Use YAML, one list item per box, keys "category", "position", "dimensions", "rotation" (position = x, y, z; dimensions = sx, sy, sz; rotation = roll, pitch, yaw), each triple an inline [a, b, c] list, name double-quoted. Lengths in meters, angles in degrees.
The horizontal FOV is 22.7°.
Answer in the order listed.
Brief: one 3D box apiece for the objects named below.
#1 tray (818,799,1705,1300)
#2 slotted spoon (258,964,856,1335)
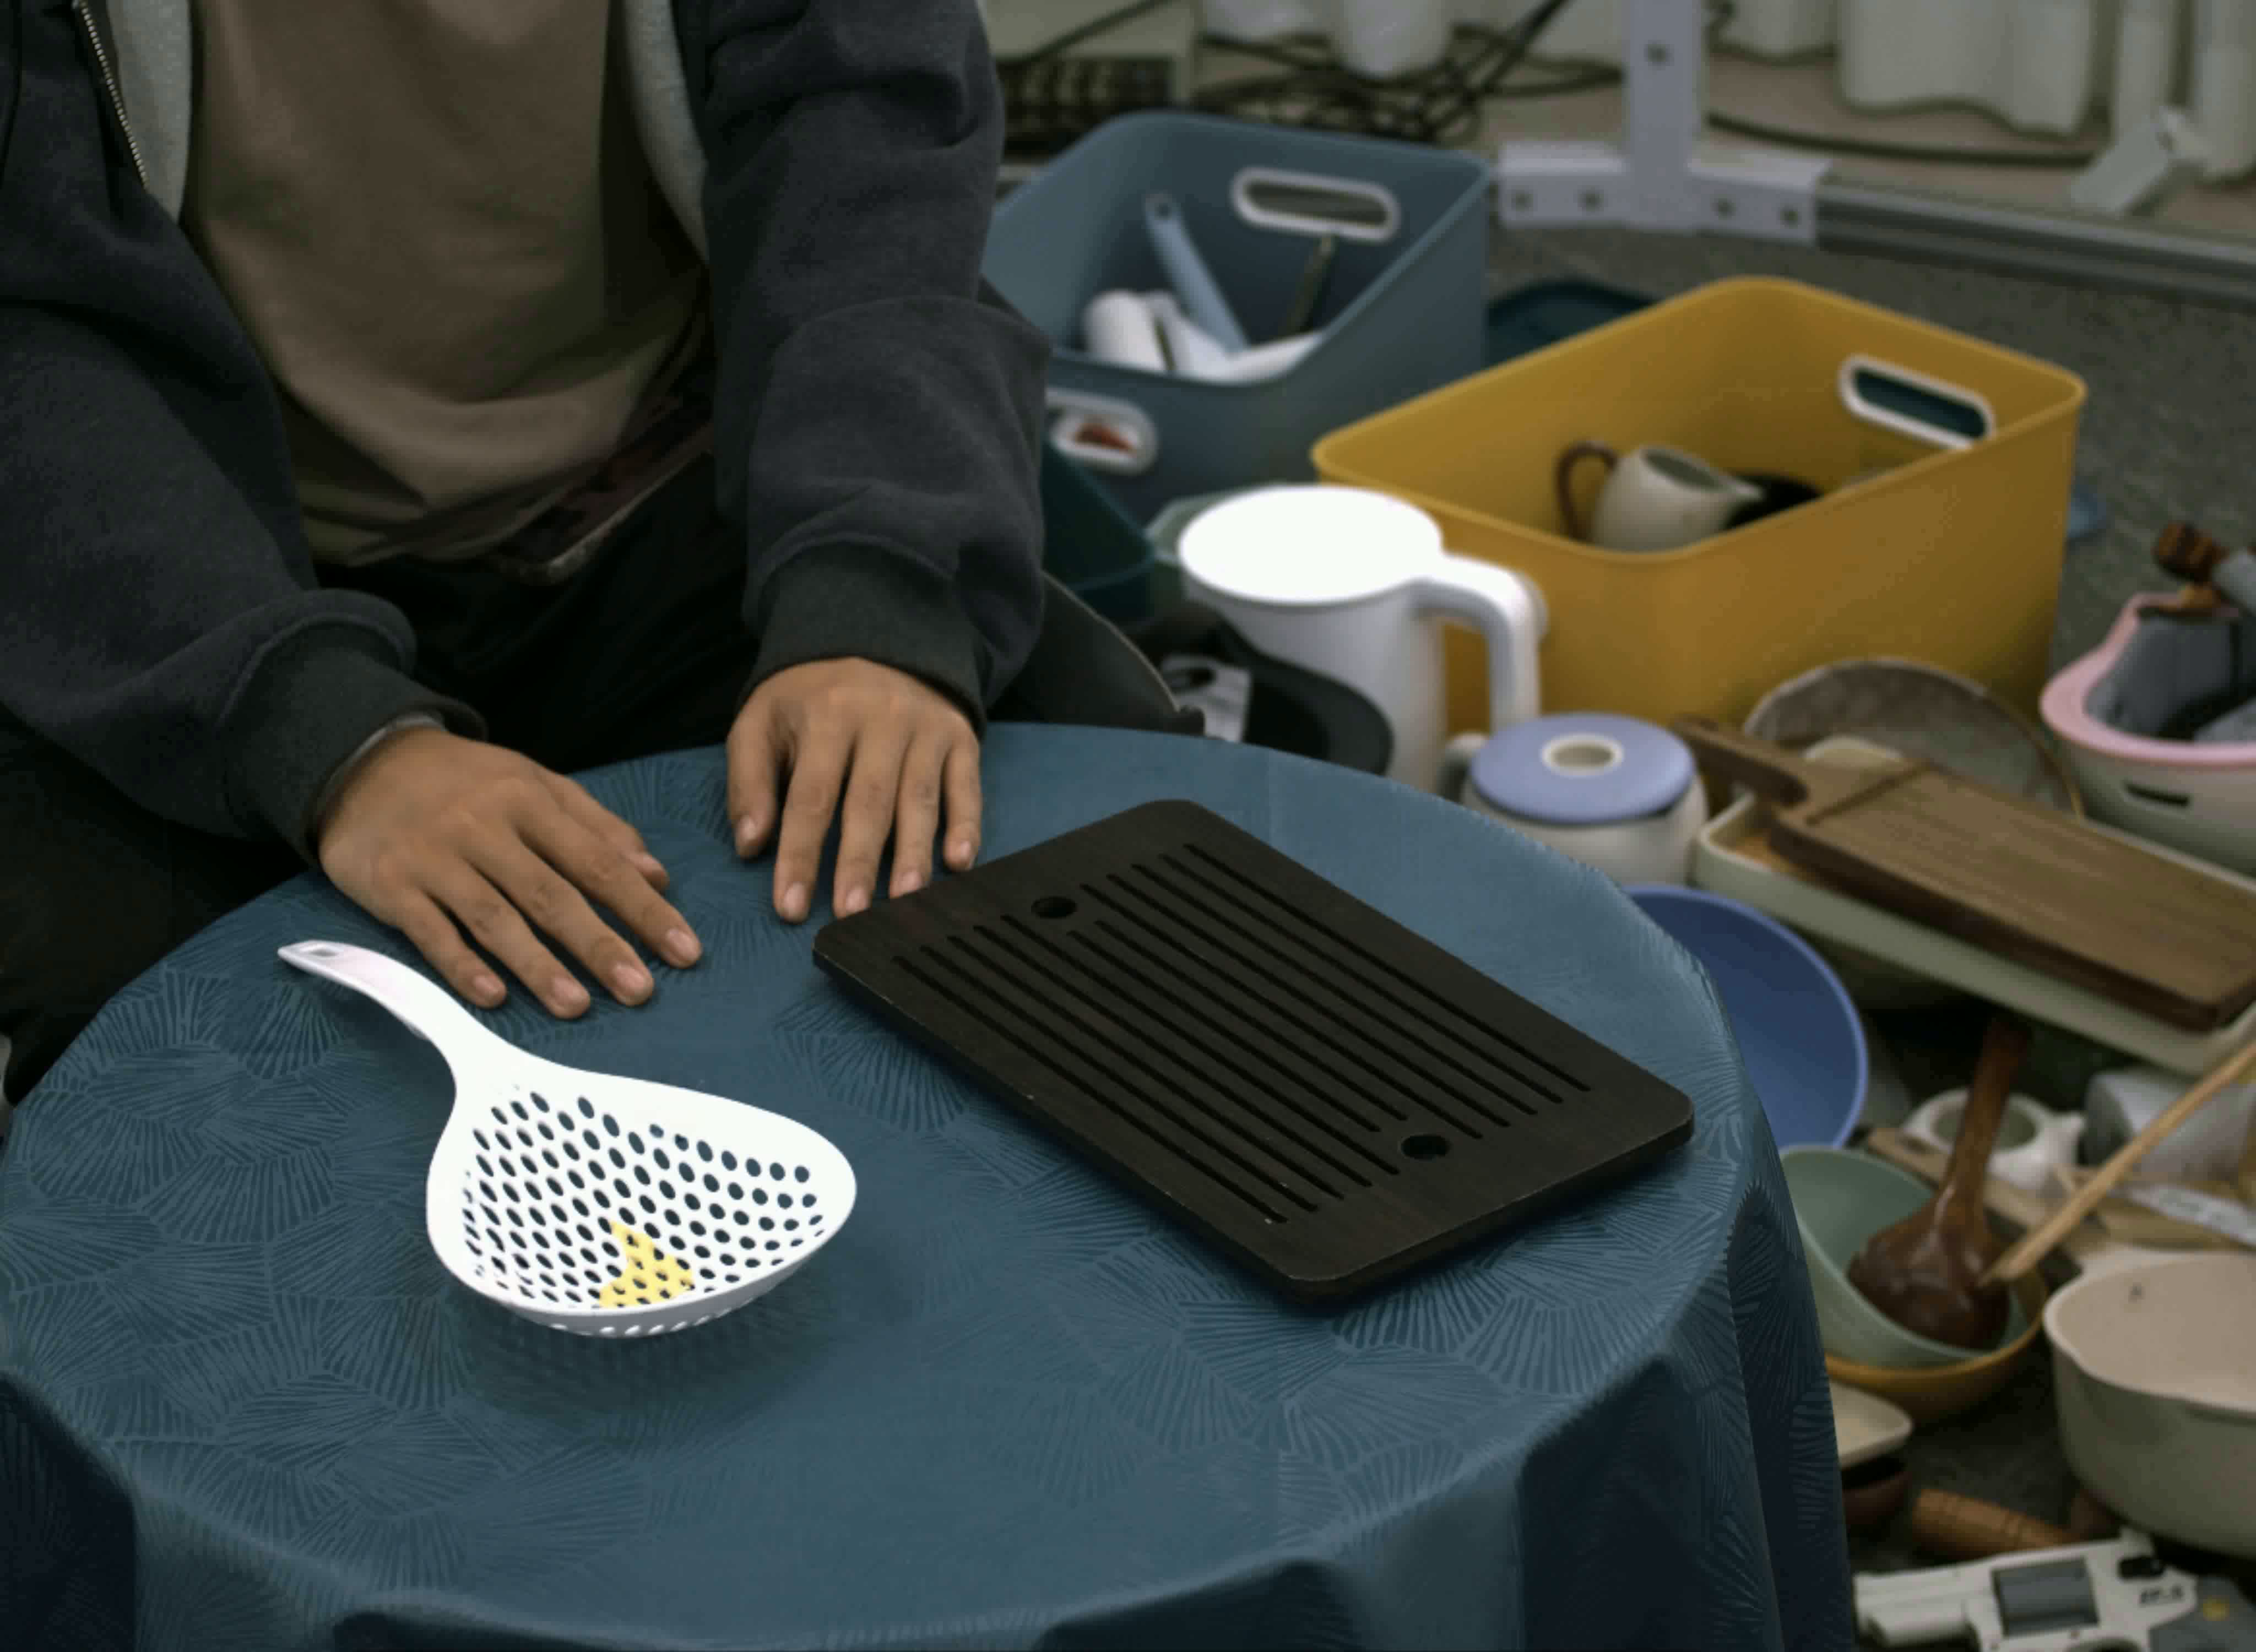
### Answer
- category: "tray"
  position: [0.041, 0.073, 1.933]
  dimensions: [0.171, 0.018, 0.306]
  rotation: [-20, 32, -30]
- category: "slotted spoon"
  position: [-0.212, 0.095, 1.891]
  dimensions: [0.138, 0.050, 0.349]
  rotation: [-20, 32, -26]
